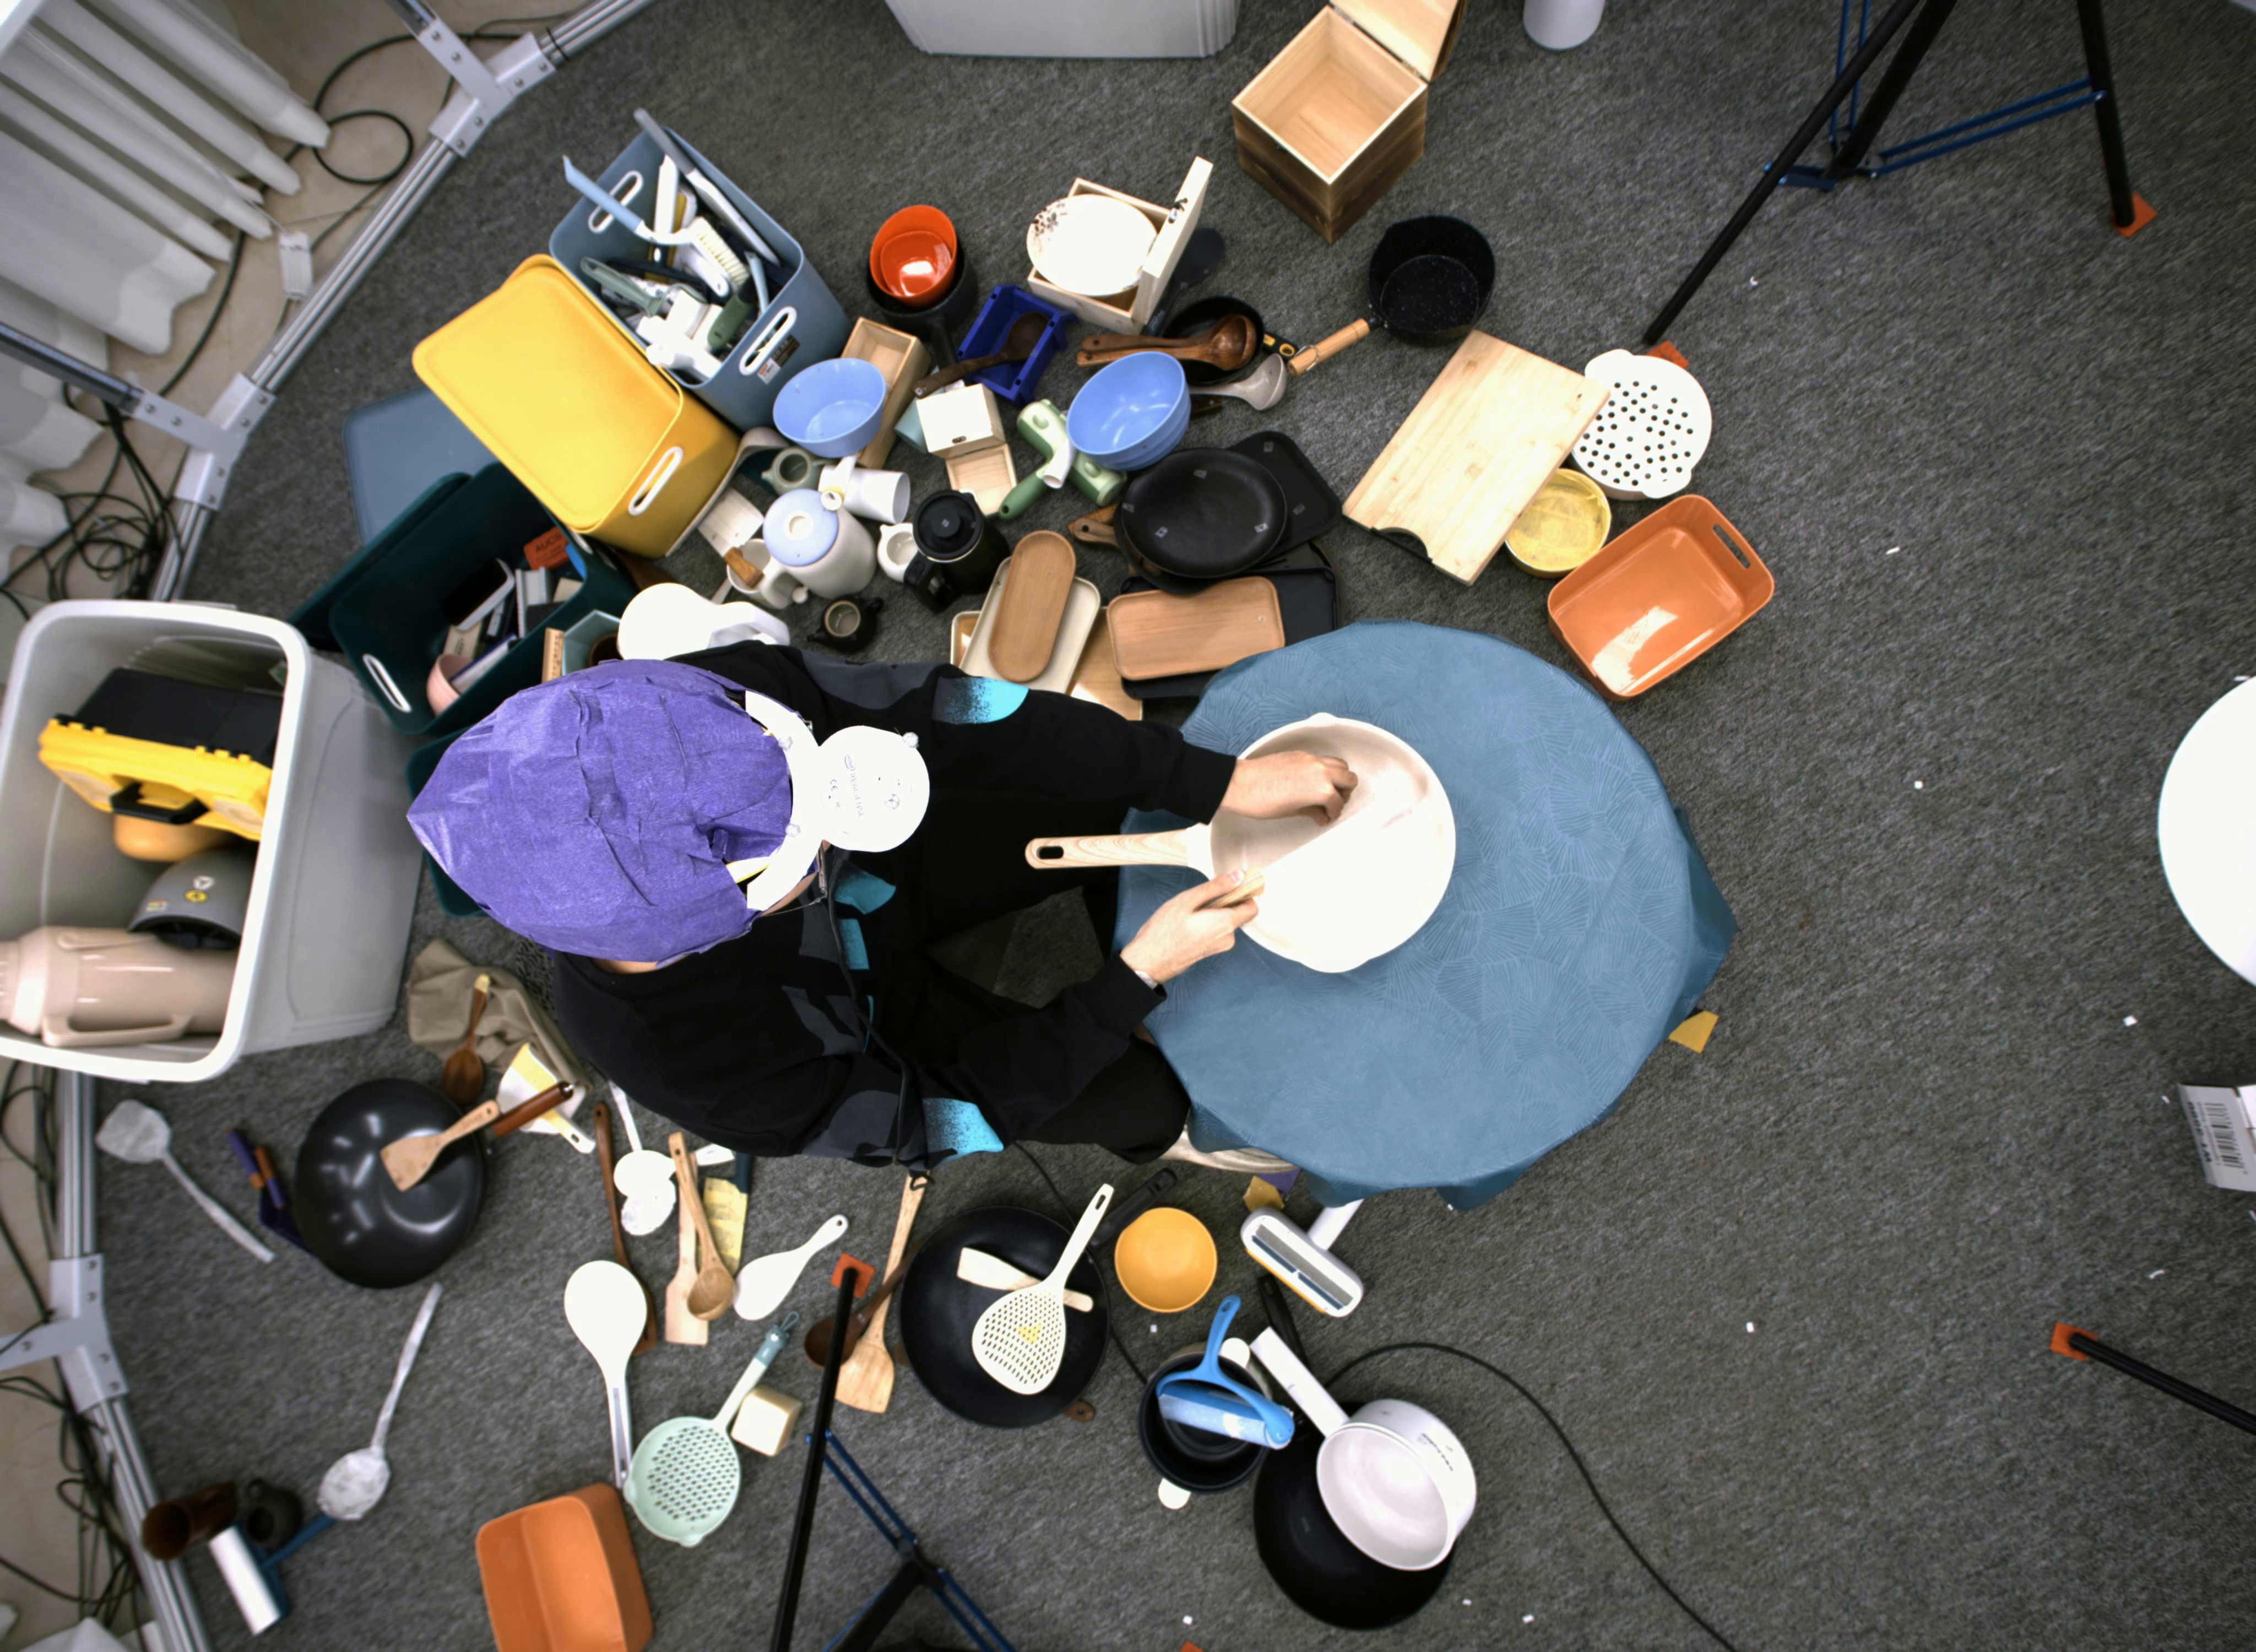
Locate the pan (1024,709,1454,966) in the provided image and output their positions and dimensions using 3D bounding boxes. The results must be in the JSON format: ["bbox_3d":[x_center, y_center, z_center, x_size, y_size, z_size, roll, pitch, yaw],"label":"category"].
[{"bbox_3d":[0.115,0.019,1.441,0.437,0.102,0.262,-4,88,10],"label":"pan"}]

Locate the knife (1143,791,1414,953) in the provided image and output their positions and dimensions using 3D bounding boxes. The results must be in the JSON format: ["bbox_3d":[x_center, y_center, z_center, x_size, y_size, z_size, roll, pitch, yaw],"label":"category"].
[{"bbox_3d":[0.157,0.045,1.393,0.314,0.115,0.021,-27,69,-5],"label":"knife"}]
